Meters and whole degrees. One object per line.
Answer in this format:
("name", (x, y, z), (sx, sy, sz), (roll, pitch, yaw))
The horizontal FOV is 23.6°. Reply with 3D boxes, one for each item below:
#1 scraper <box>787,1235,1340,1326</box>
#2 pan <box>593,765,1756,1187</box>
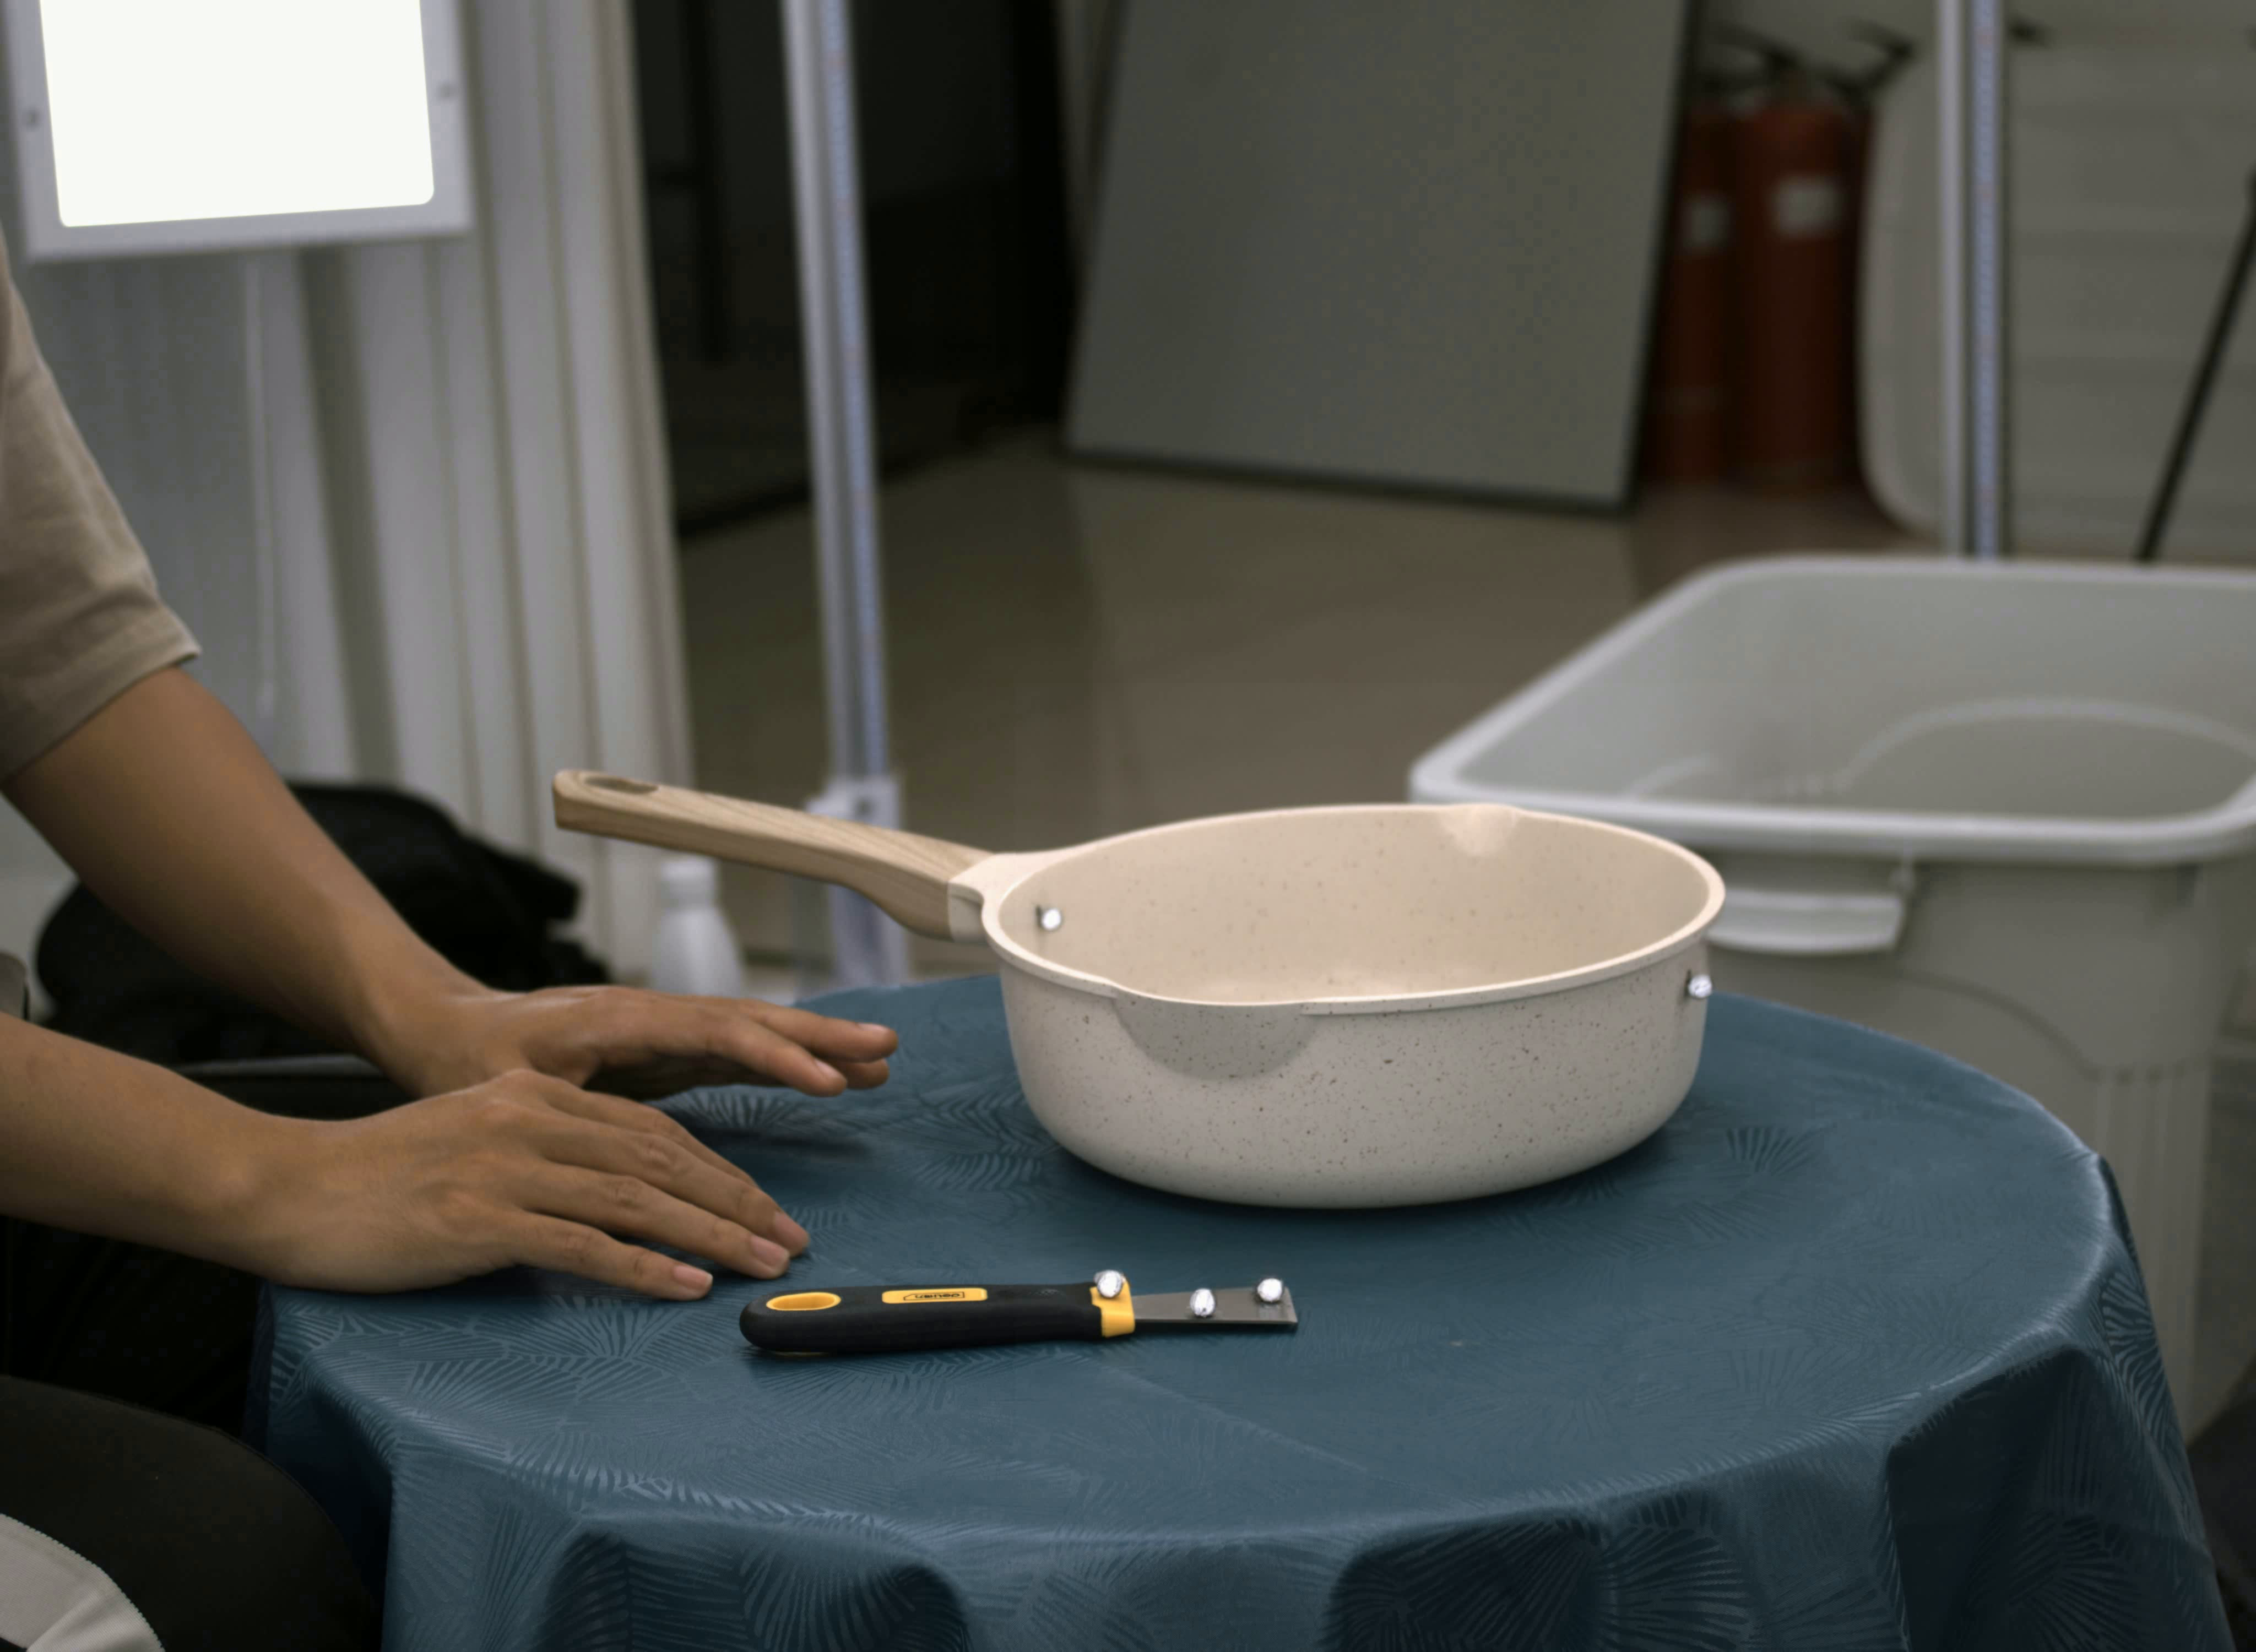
("scraper", (-0.020, 0.138, 1.649), (0.168, 0.015, 0.039), (-2, 18, -4))
("pan", (0.009, 0.042, 1.876), (0.435, 0.103, 0.260), (3, 17, 26))
